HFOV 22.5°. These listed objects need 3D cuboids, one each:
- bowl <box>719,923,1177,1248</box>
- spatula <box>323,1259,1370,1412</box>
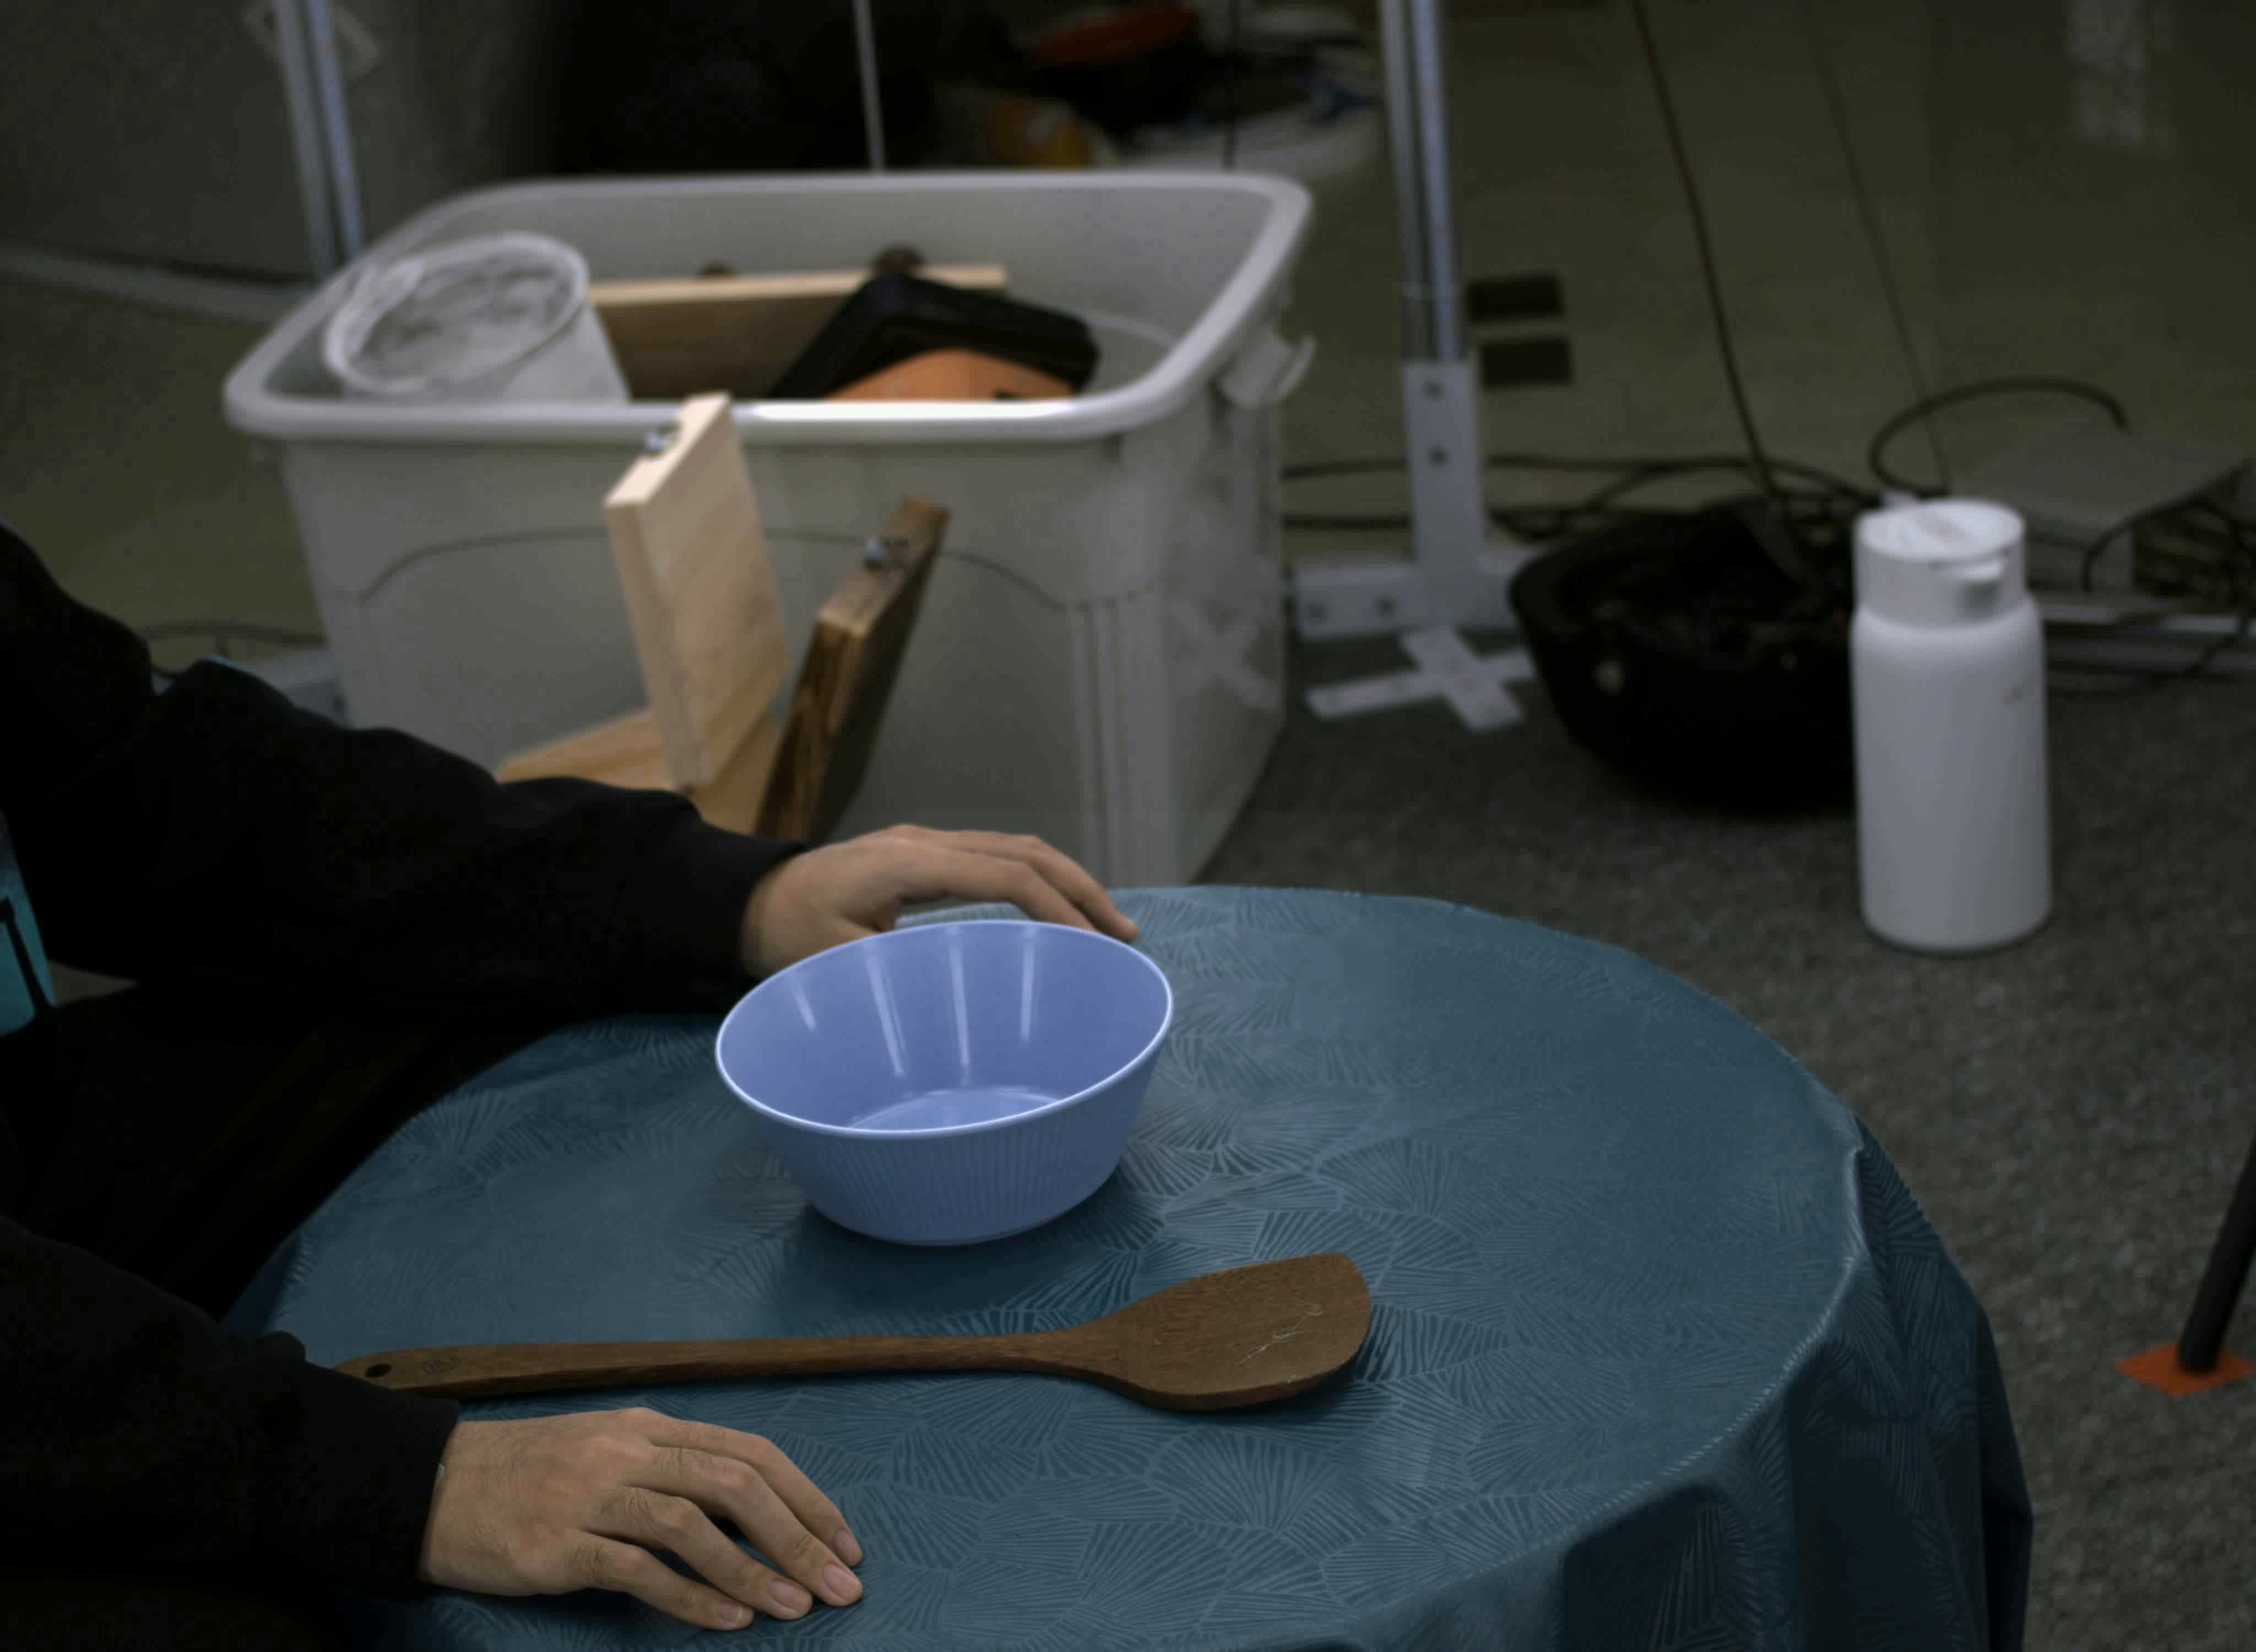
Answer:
[{"bbox_3d":[-0.064,0.105,2.159,0.176,0.071,0.173,-7,25,3],"label":"bowl"},{"bbox_3d":[-0.104,0.192,2.050,0.385,0.016,0.095,-3,25,7],"label":"spatula"}]
